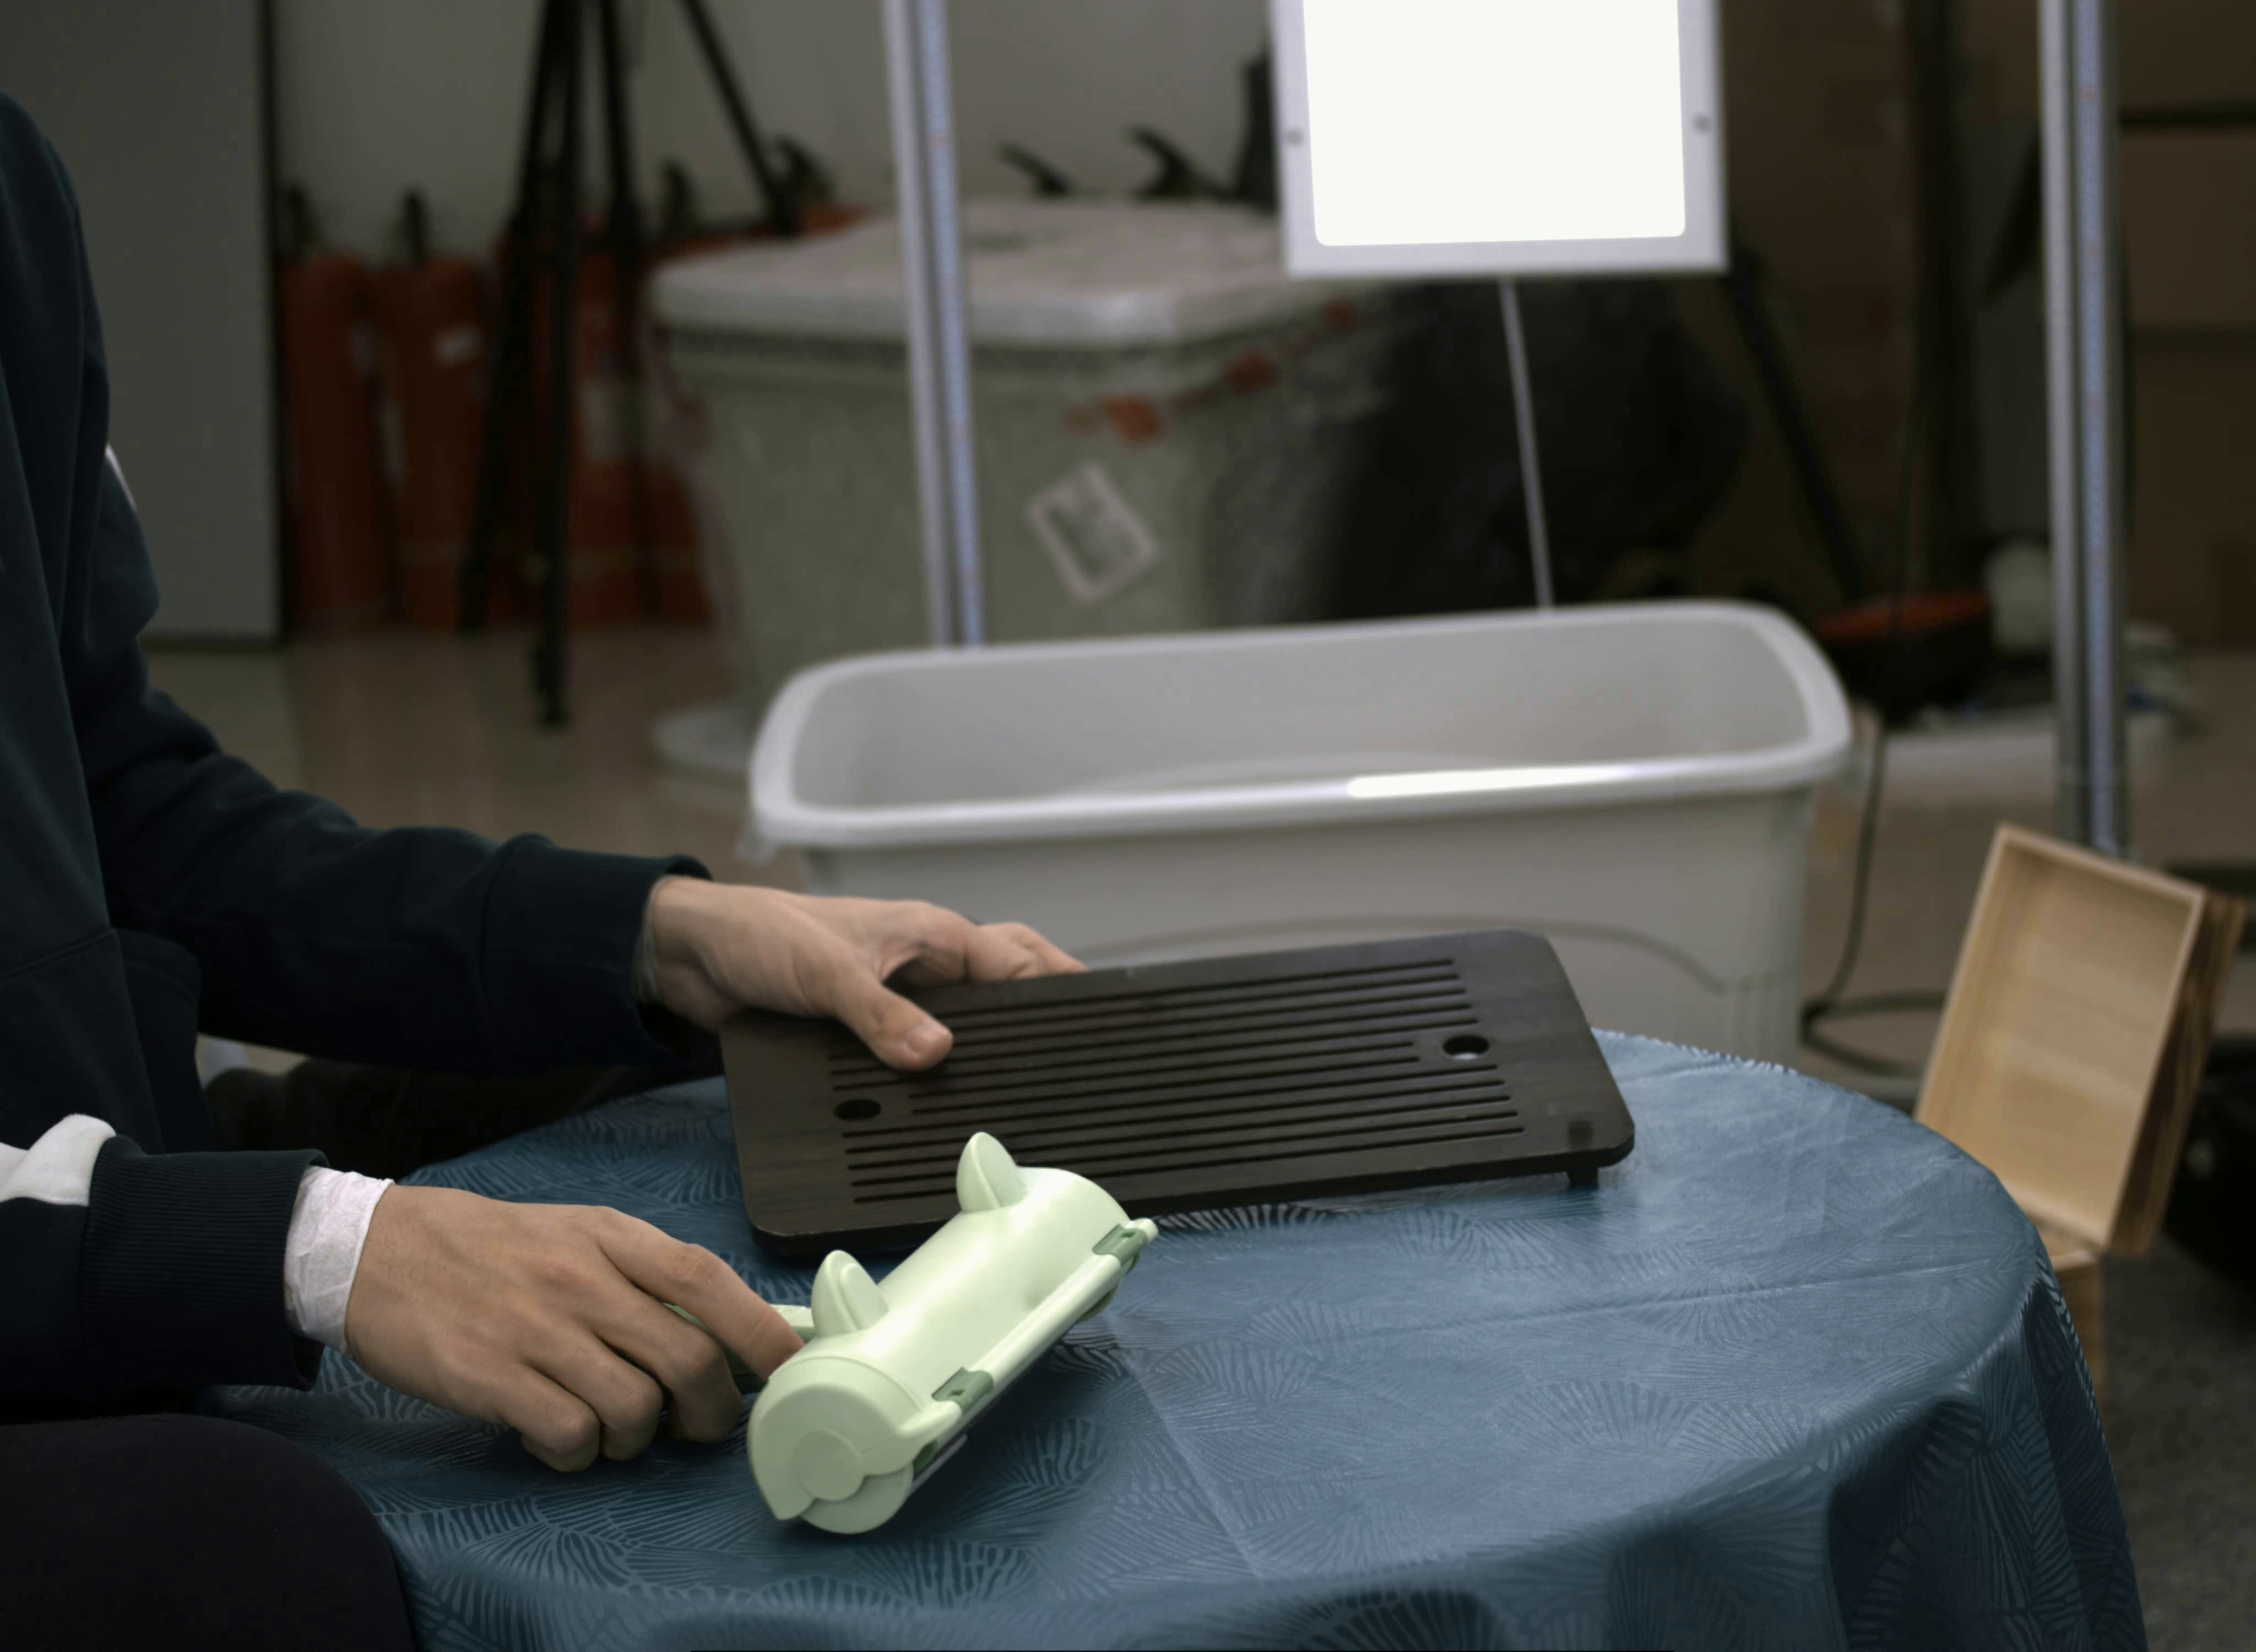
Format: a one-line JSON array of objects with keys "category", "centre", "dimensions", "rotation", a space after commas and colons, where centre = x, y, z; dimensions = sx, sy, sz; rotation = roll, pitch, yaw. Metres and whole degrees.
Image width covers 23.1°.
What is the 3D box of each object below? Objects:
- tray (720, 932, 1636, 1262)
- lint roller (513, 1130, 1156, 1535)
[{"category": "tray", "centre": [0.014, 0.094, 1.922], "dimensions": [0.304, 0.019, 0.170], "rotation": [-6, 25, -4]}, {"category": "lint roller", "centre": [-0.107, 0.146, 1.687], "dimensions": [0.186, 0.082, 0.195], "rotation": [4, 16, 21]}]
